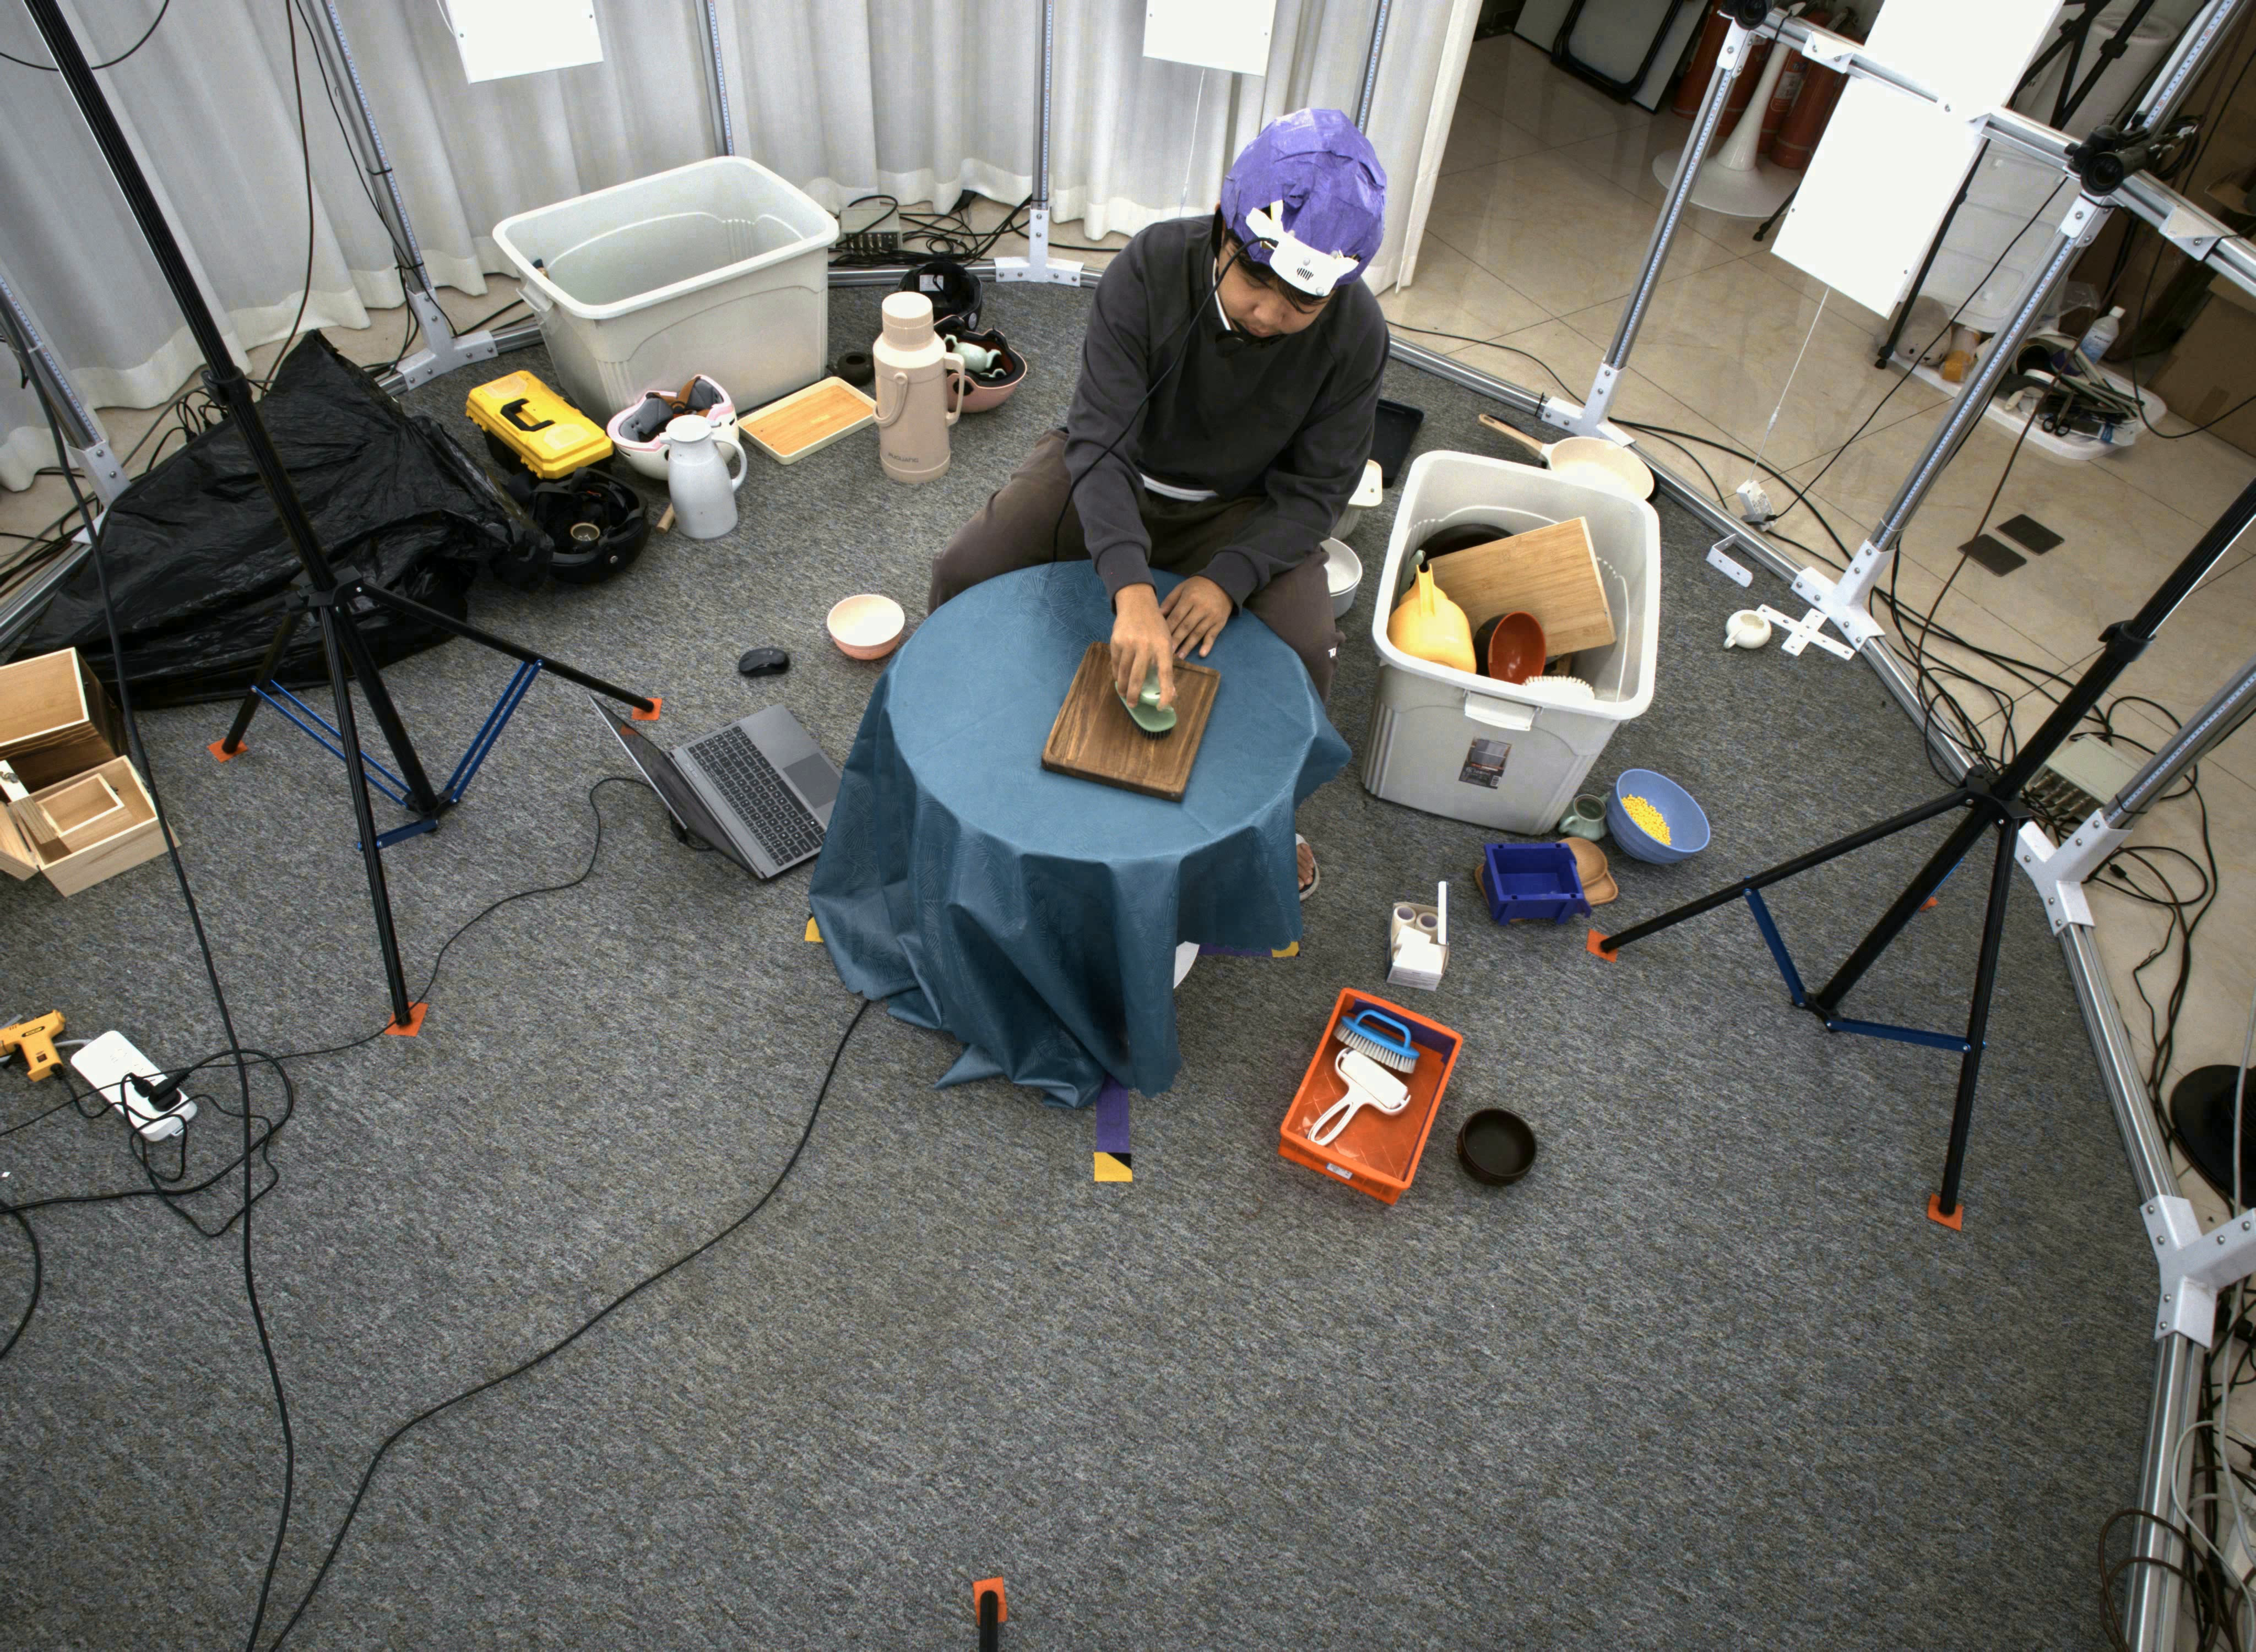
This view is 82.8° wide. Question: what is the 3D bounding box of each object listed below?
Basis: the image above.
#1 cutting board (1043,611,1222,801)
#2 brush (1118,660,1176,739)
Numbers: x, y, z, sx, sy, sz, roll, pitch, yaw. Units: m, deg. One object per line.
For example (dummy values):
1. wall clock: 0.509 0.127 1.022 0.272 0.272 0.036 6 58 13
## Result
1. cutting board: 0.023 -0.187 1.816 0.201 0.022 0.360 14 49 7
2. brush: 0.027 -0.176 1.767 0.059 0.074 0.126 -11 35 -18
